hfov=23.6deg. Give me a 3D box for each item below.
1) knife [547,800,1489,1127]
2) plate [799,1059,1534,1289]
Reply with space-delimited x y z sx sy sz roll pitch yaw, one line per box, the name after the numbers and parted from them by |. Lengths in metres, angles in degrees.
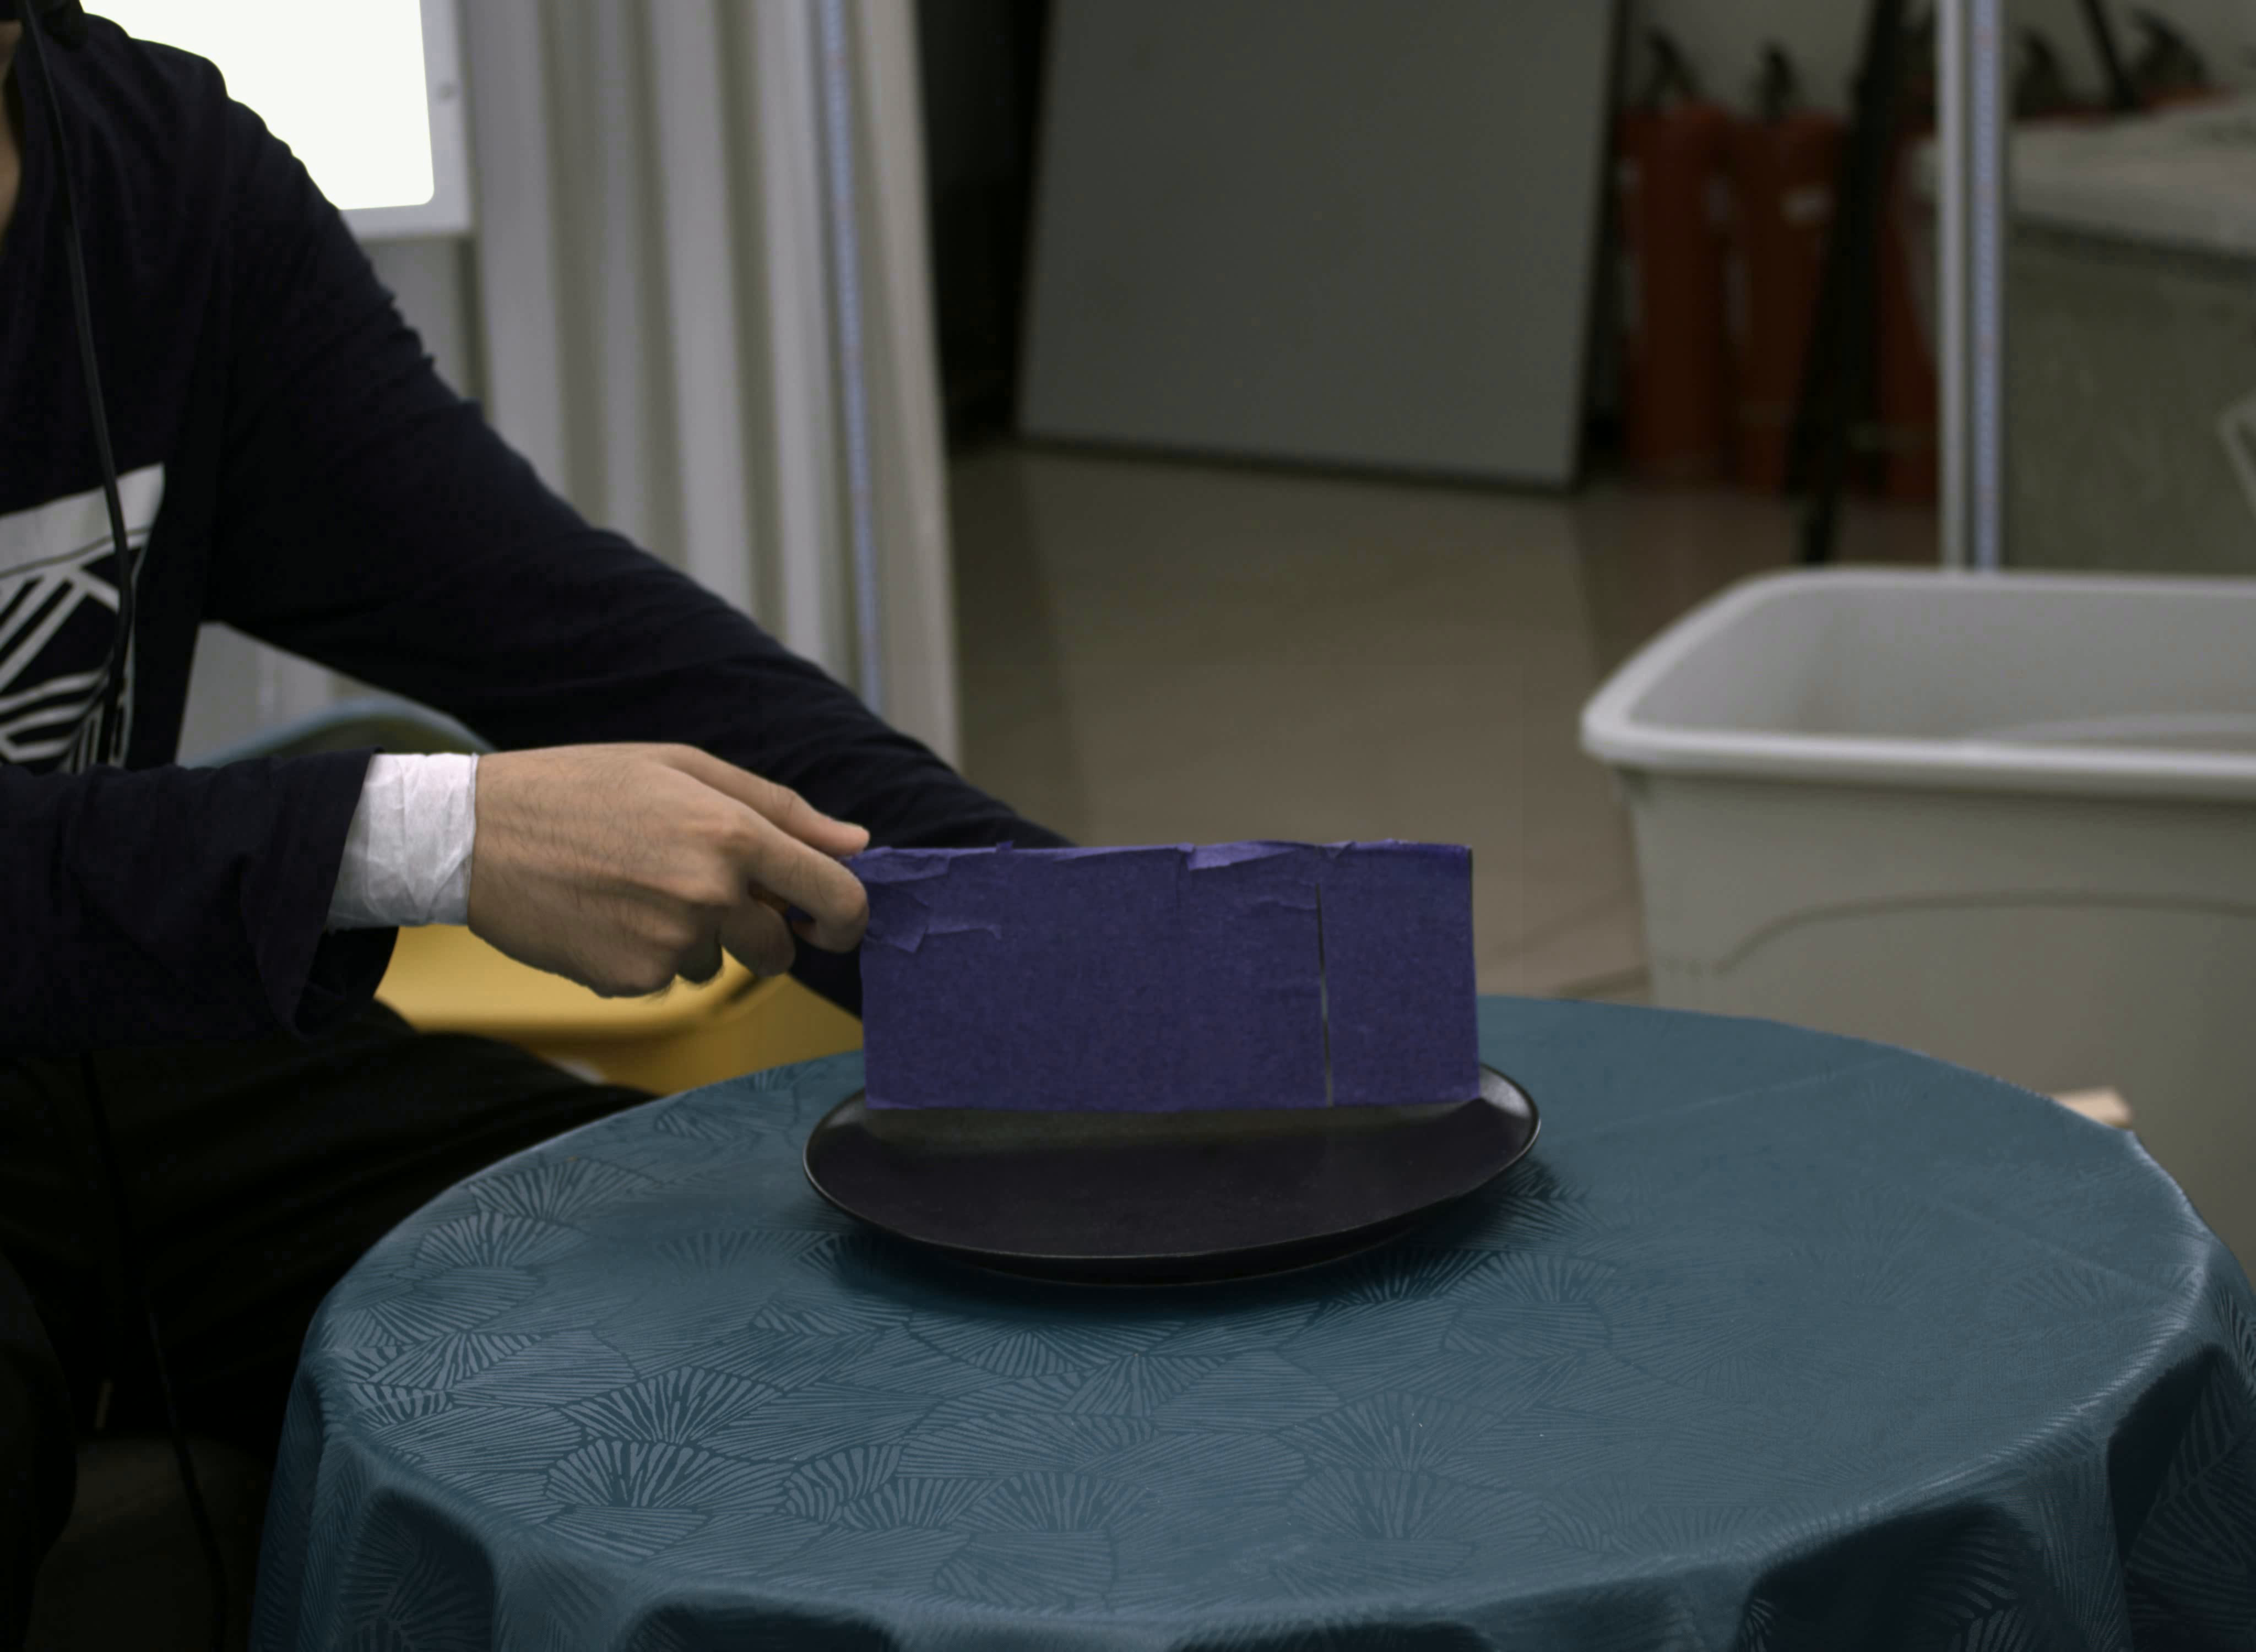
-0.036 0.049 1.791 0.312 0.105 0.032 -2 8 7 | knife
0.013 0.111 1.761 0.241 0.024 0.245 -4 14 0 | plate
